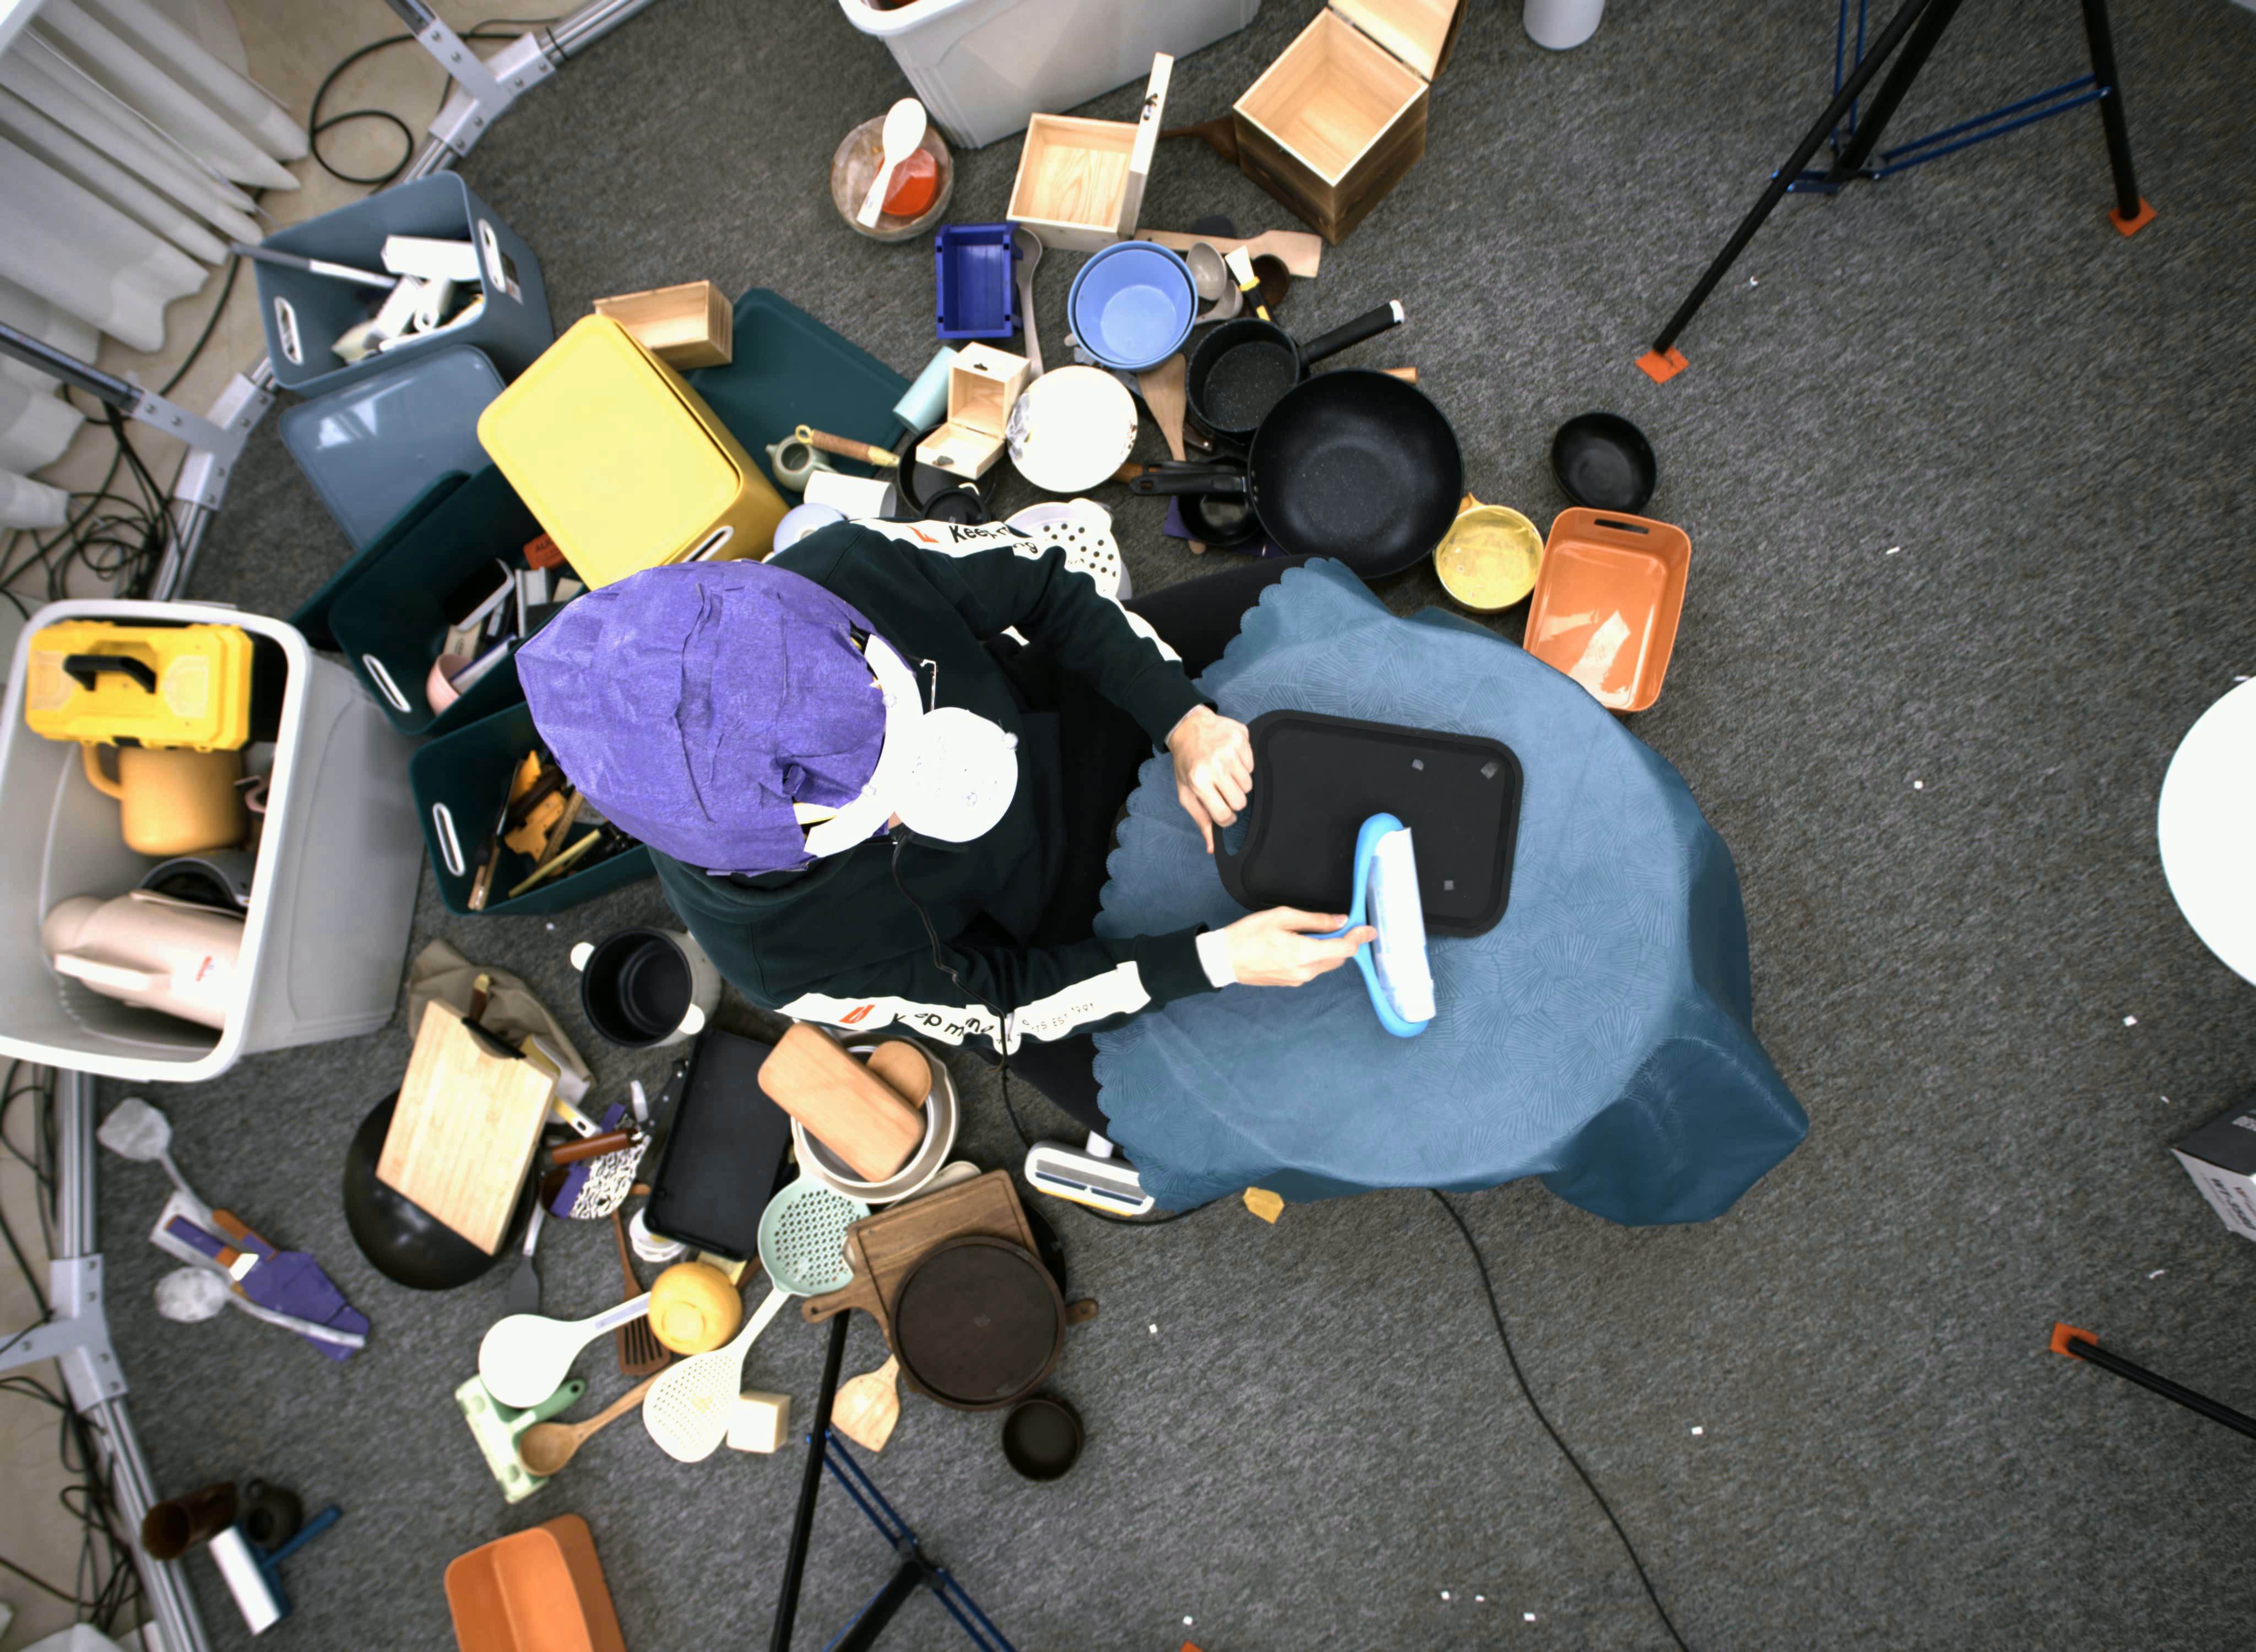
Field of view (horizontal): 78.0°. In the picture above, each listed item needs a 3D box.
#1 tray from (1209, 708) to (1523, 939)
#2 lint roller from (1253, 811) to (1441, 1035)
[{"bbox_3d":[0.243,-0.003,1.408,0.325,0.010,0.211,7,94,-7],"label":"tray"},{"bbox_3d":[0.219,0.110,1.386,0.179,0.068,0.230,-13,99,-11],"label":"lint roller"}]
